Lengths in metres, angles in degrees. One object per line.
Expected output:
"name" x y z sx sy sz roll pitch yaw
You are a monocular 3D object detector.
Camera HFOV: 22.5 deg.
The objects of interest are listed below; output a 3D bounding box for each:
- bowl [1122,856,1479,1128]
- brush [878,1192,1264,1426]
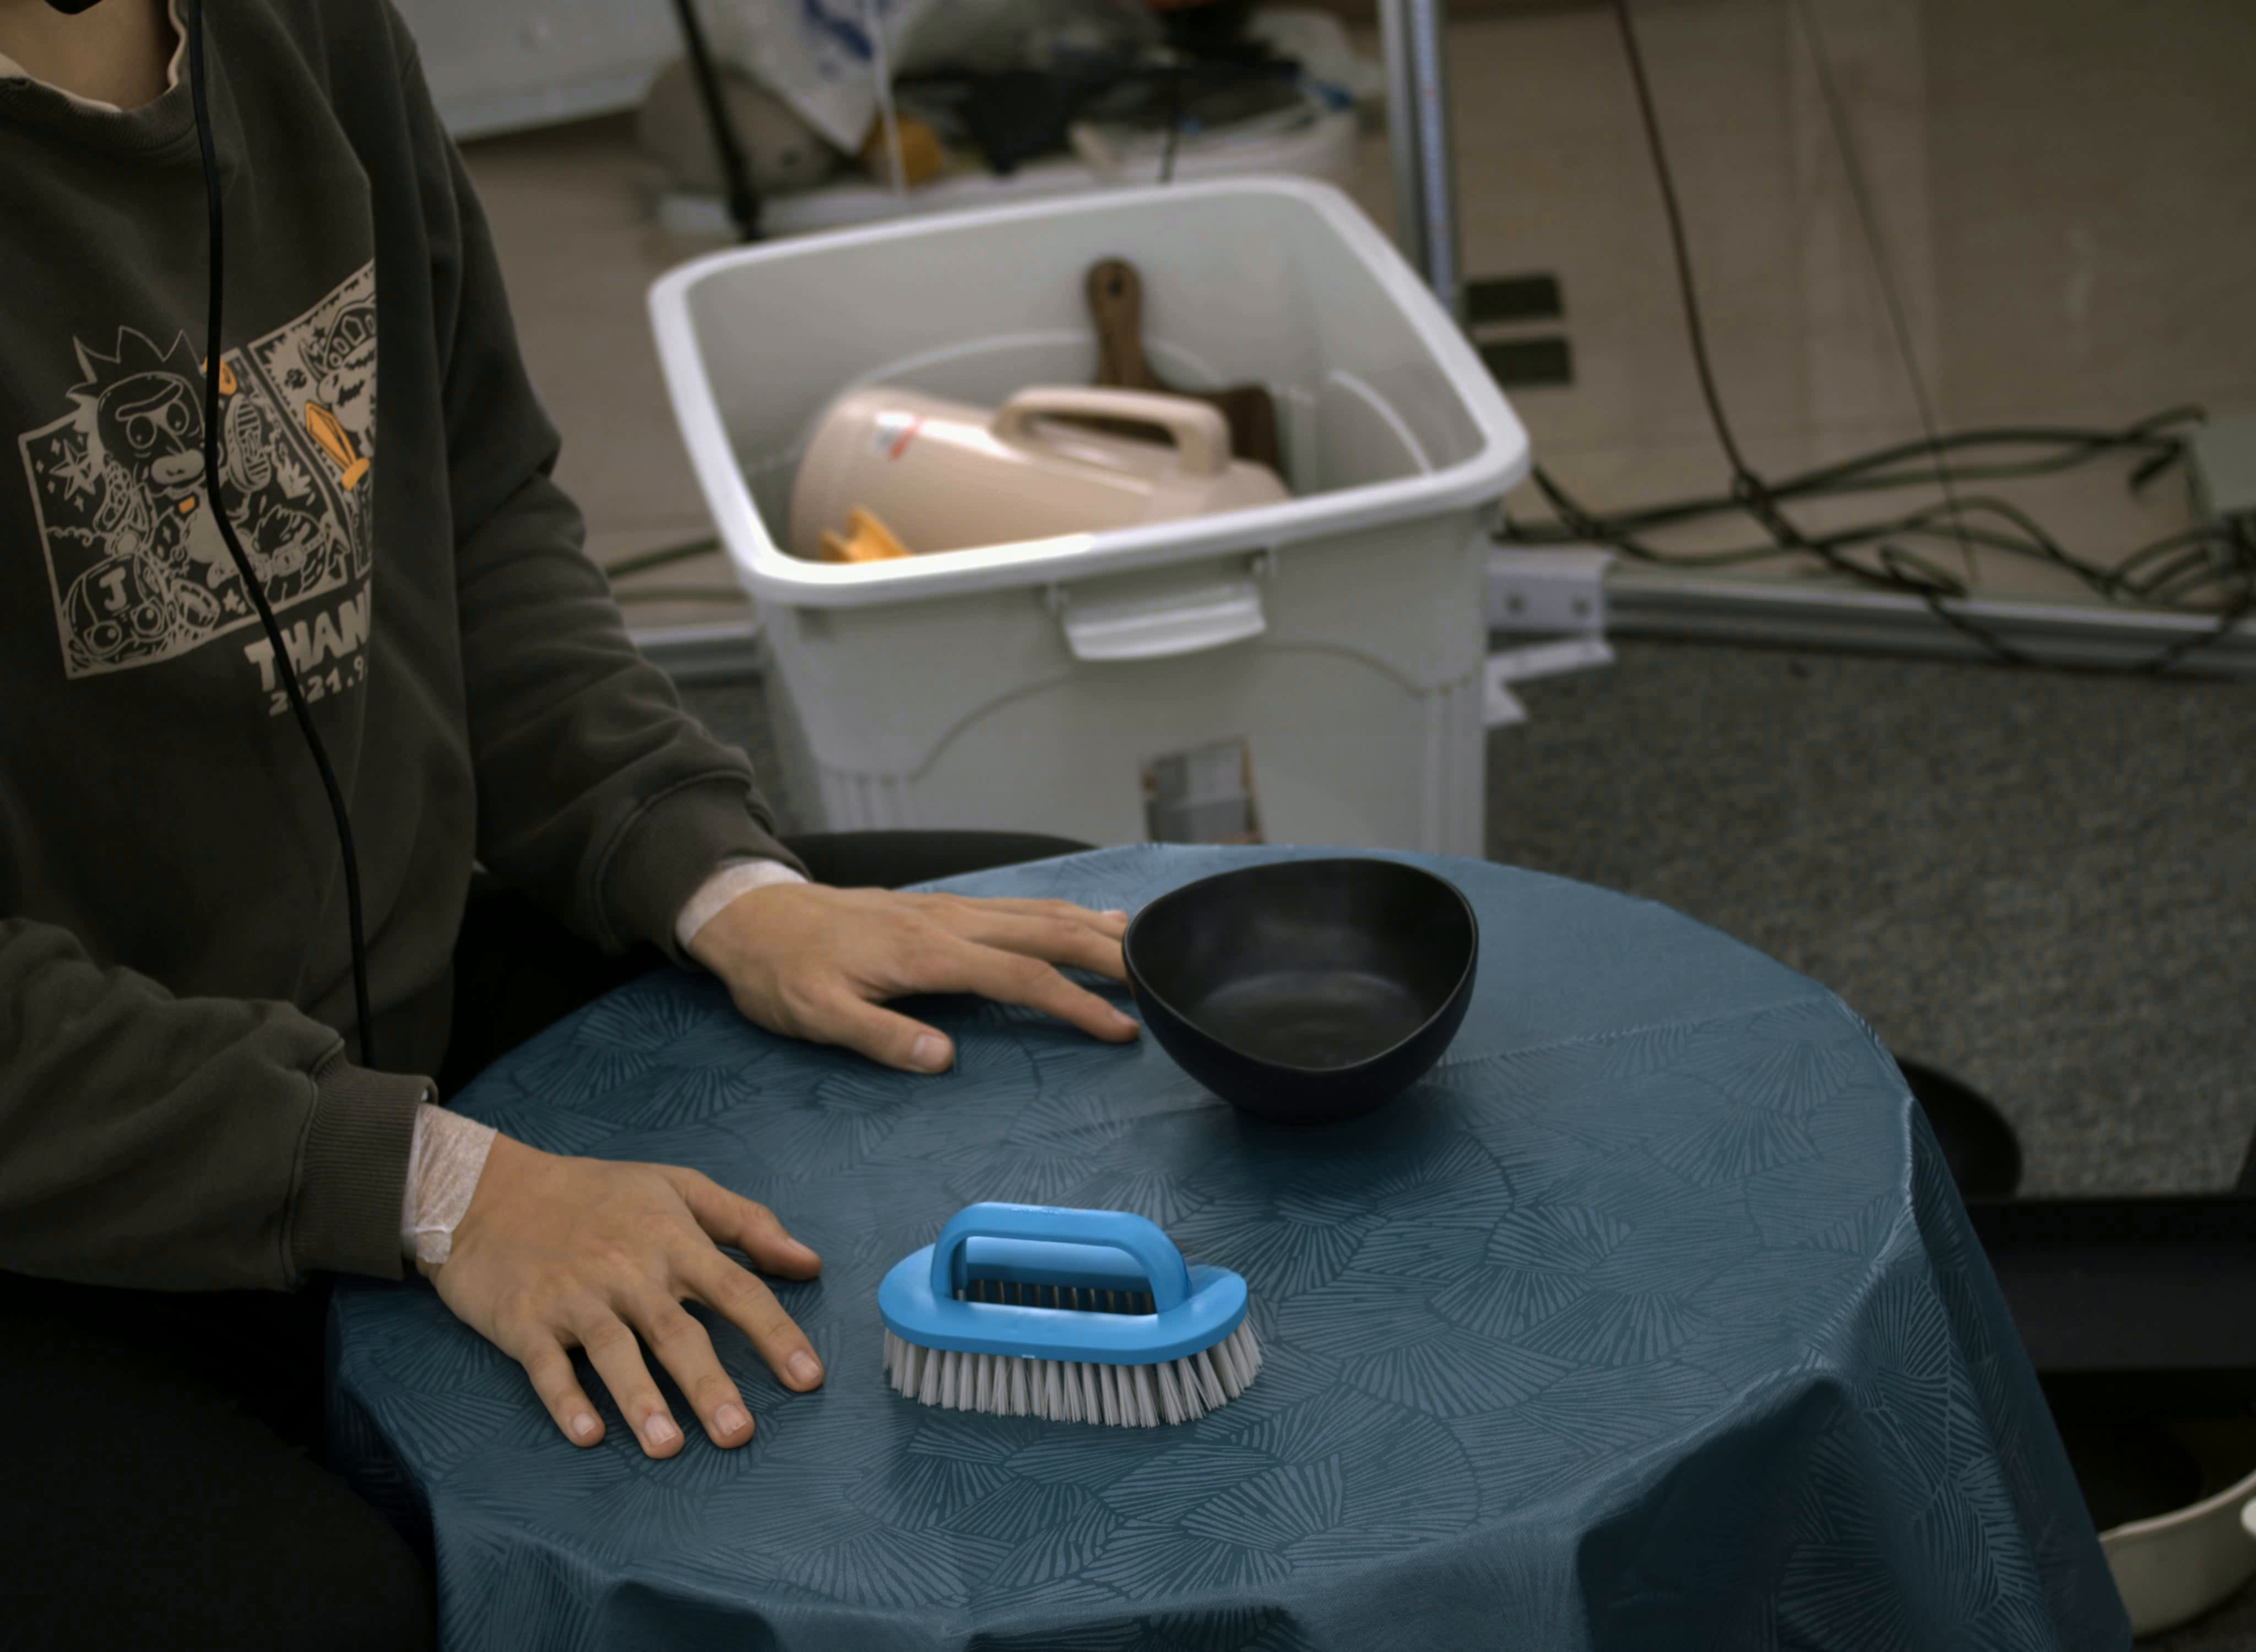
"bowl" 0.070 0.072 2.197 0.137 0.068 0.168 -11 27 -7
"brush" -0.025 0.163 2.023 0.141 0.065 0.083 3 31 23
